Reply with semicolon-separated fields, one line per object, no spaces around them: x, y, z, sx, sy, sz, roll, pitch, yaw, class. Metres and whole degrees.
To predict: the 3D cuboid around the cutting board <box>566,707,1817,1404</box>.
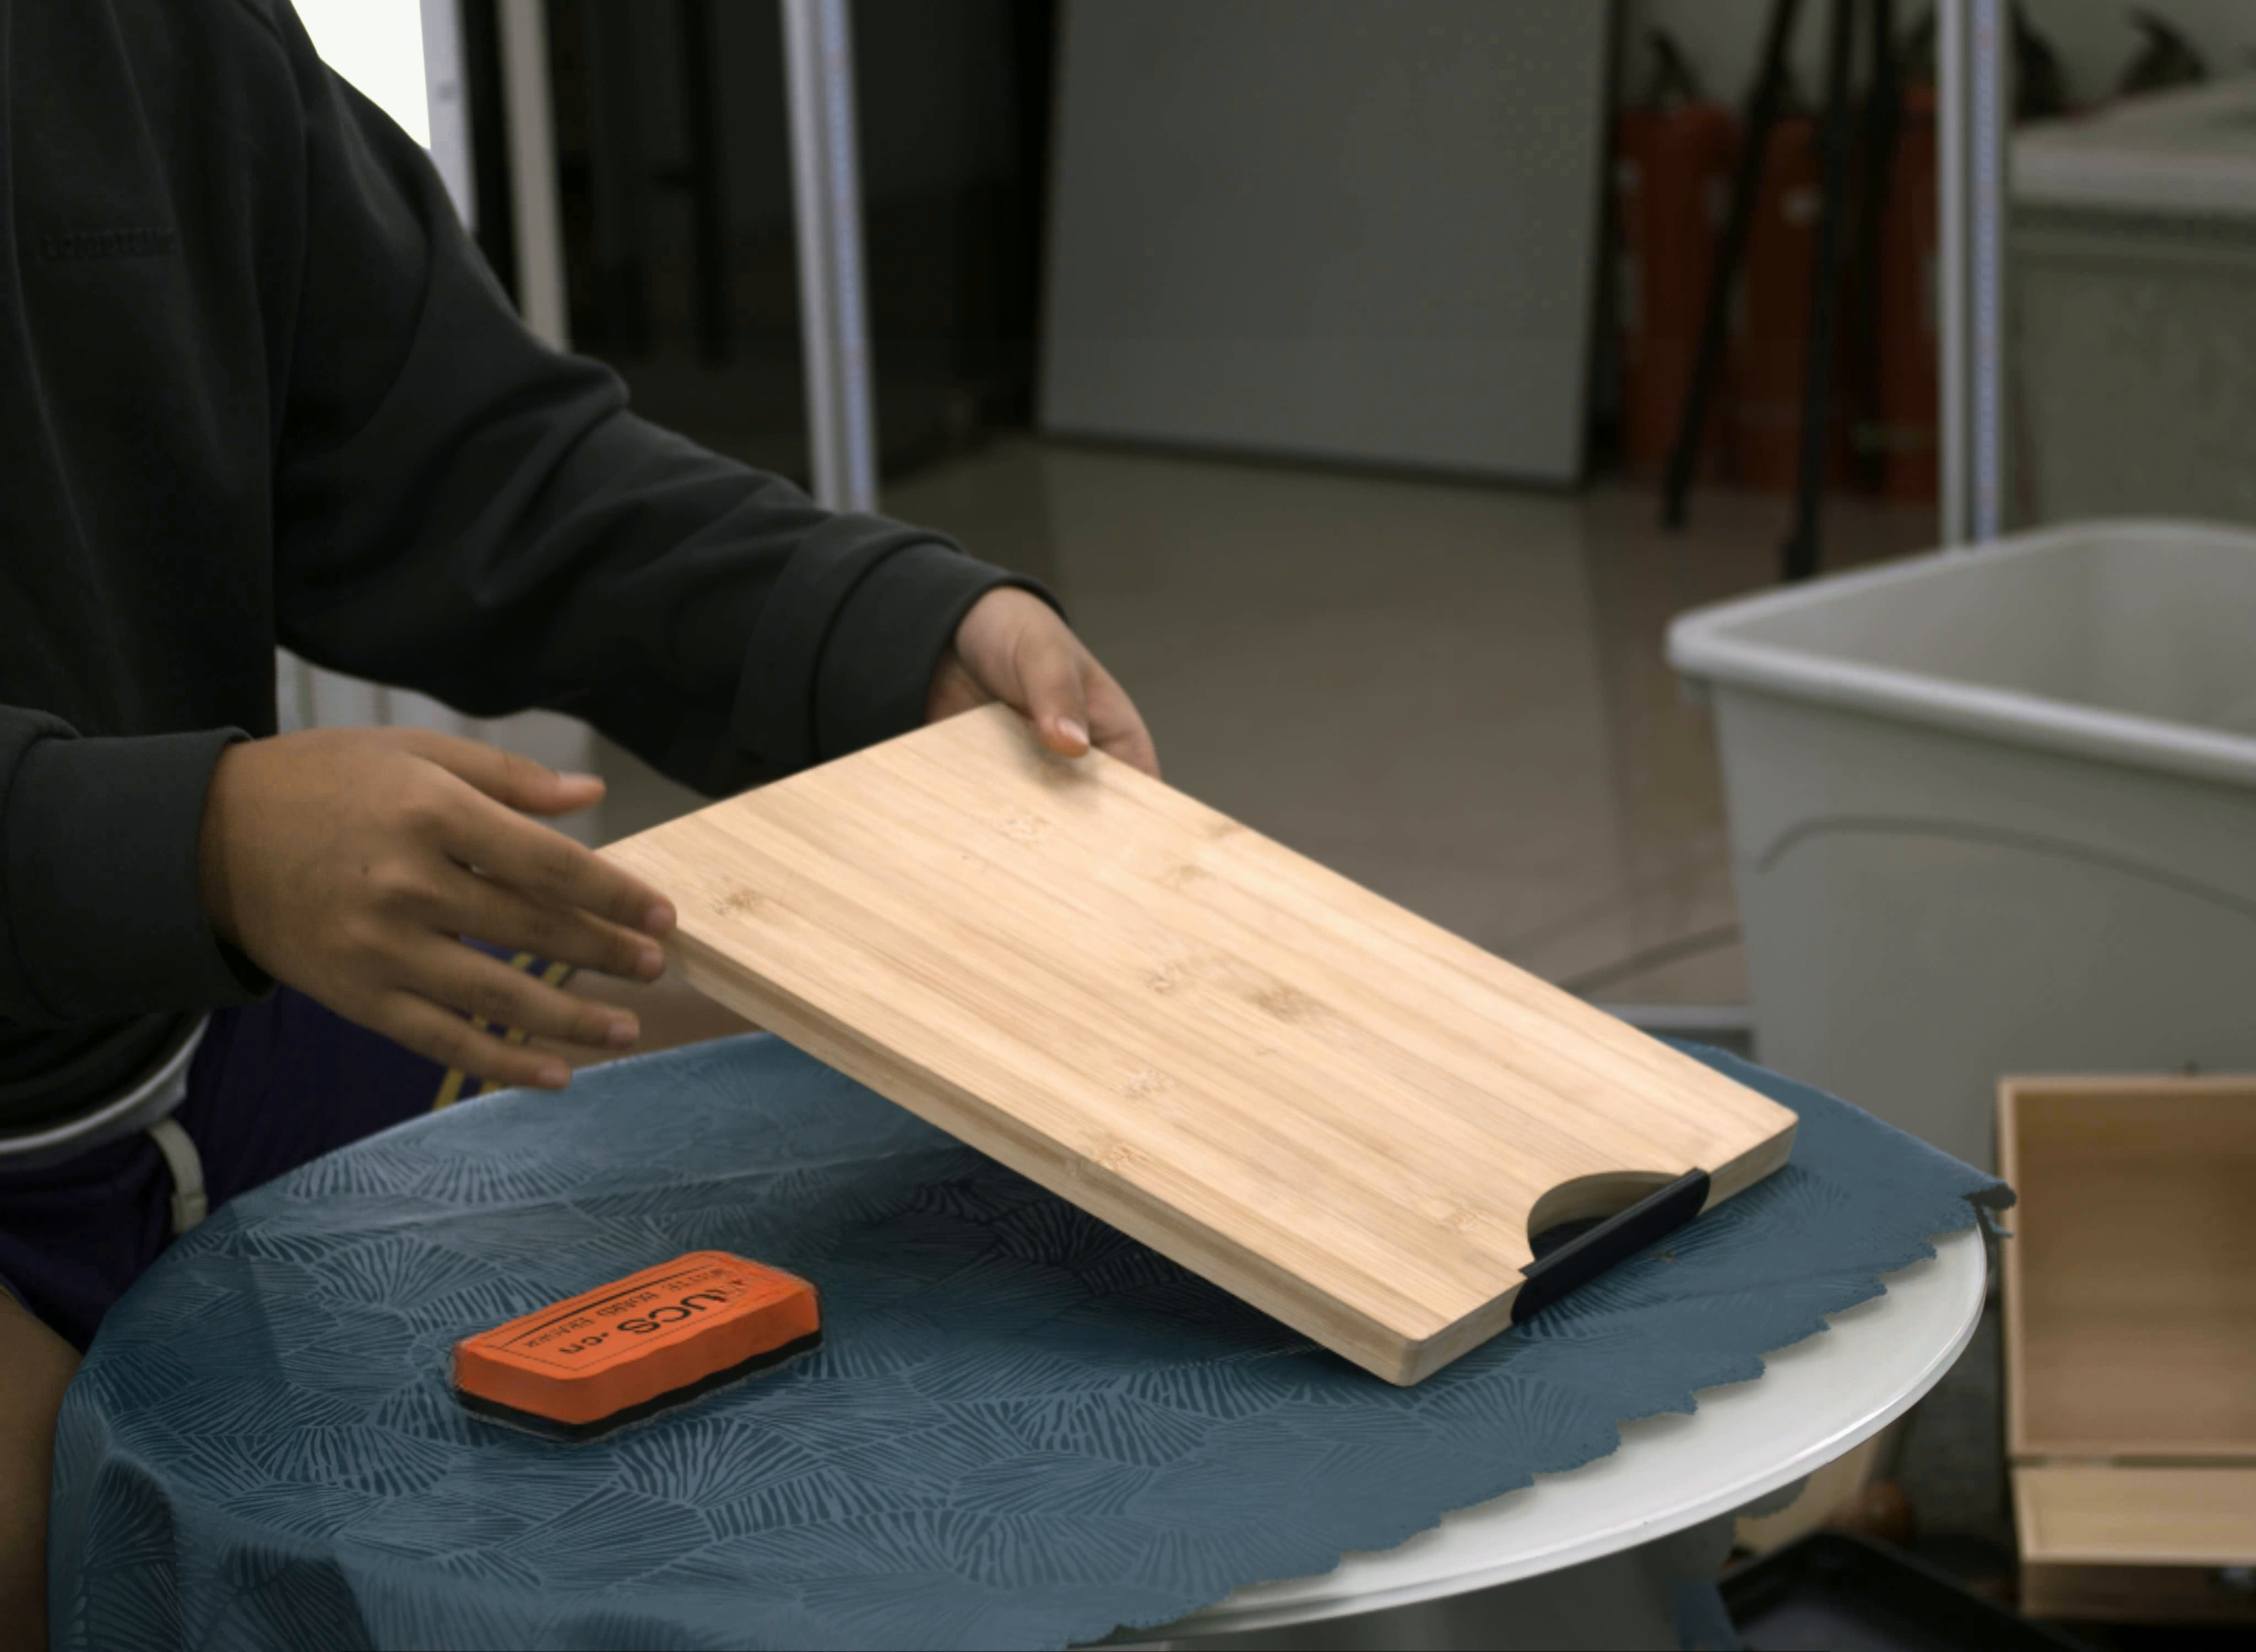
0.022;0.062;1.734;0.351;0.024;0.246;27;28;28;cutting board

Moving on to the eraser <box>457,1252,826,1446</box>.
-0.145;0.156;1.617;0.059;0.023;0.106;10;19;43;eraser
